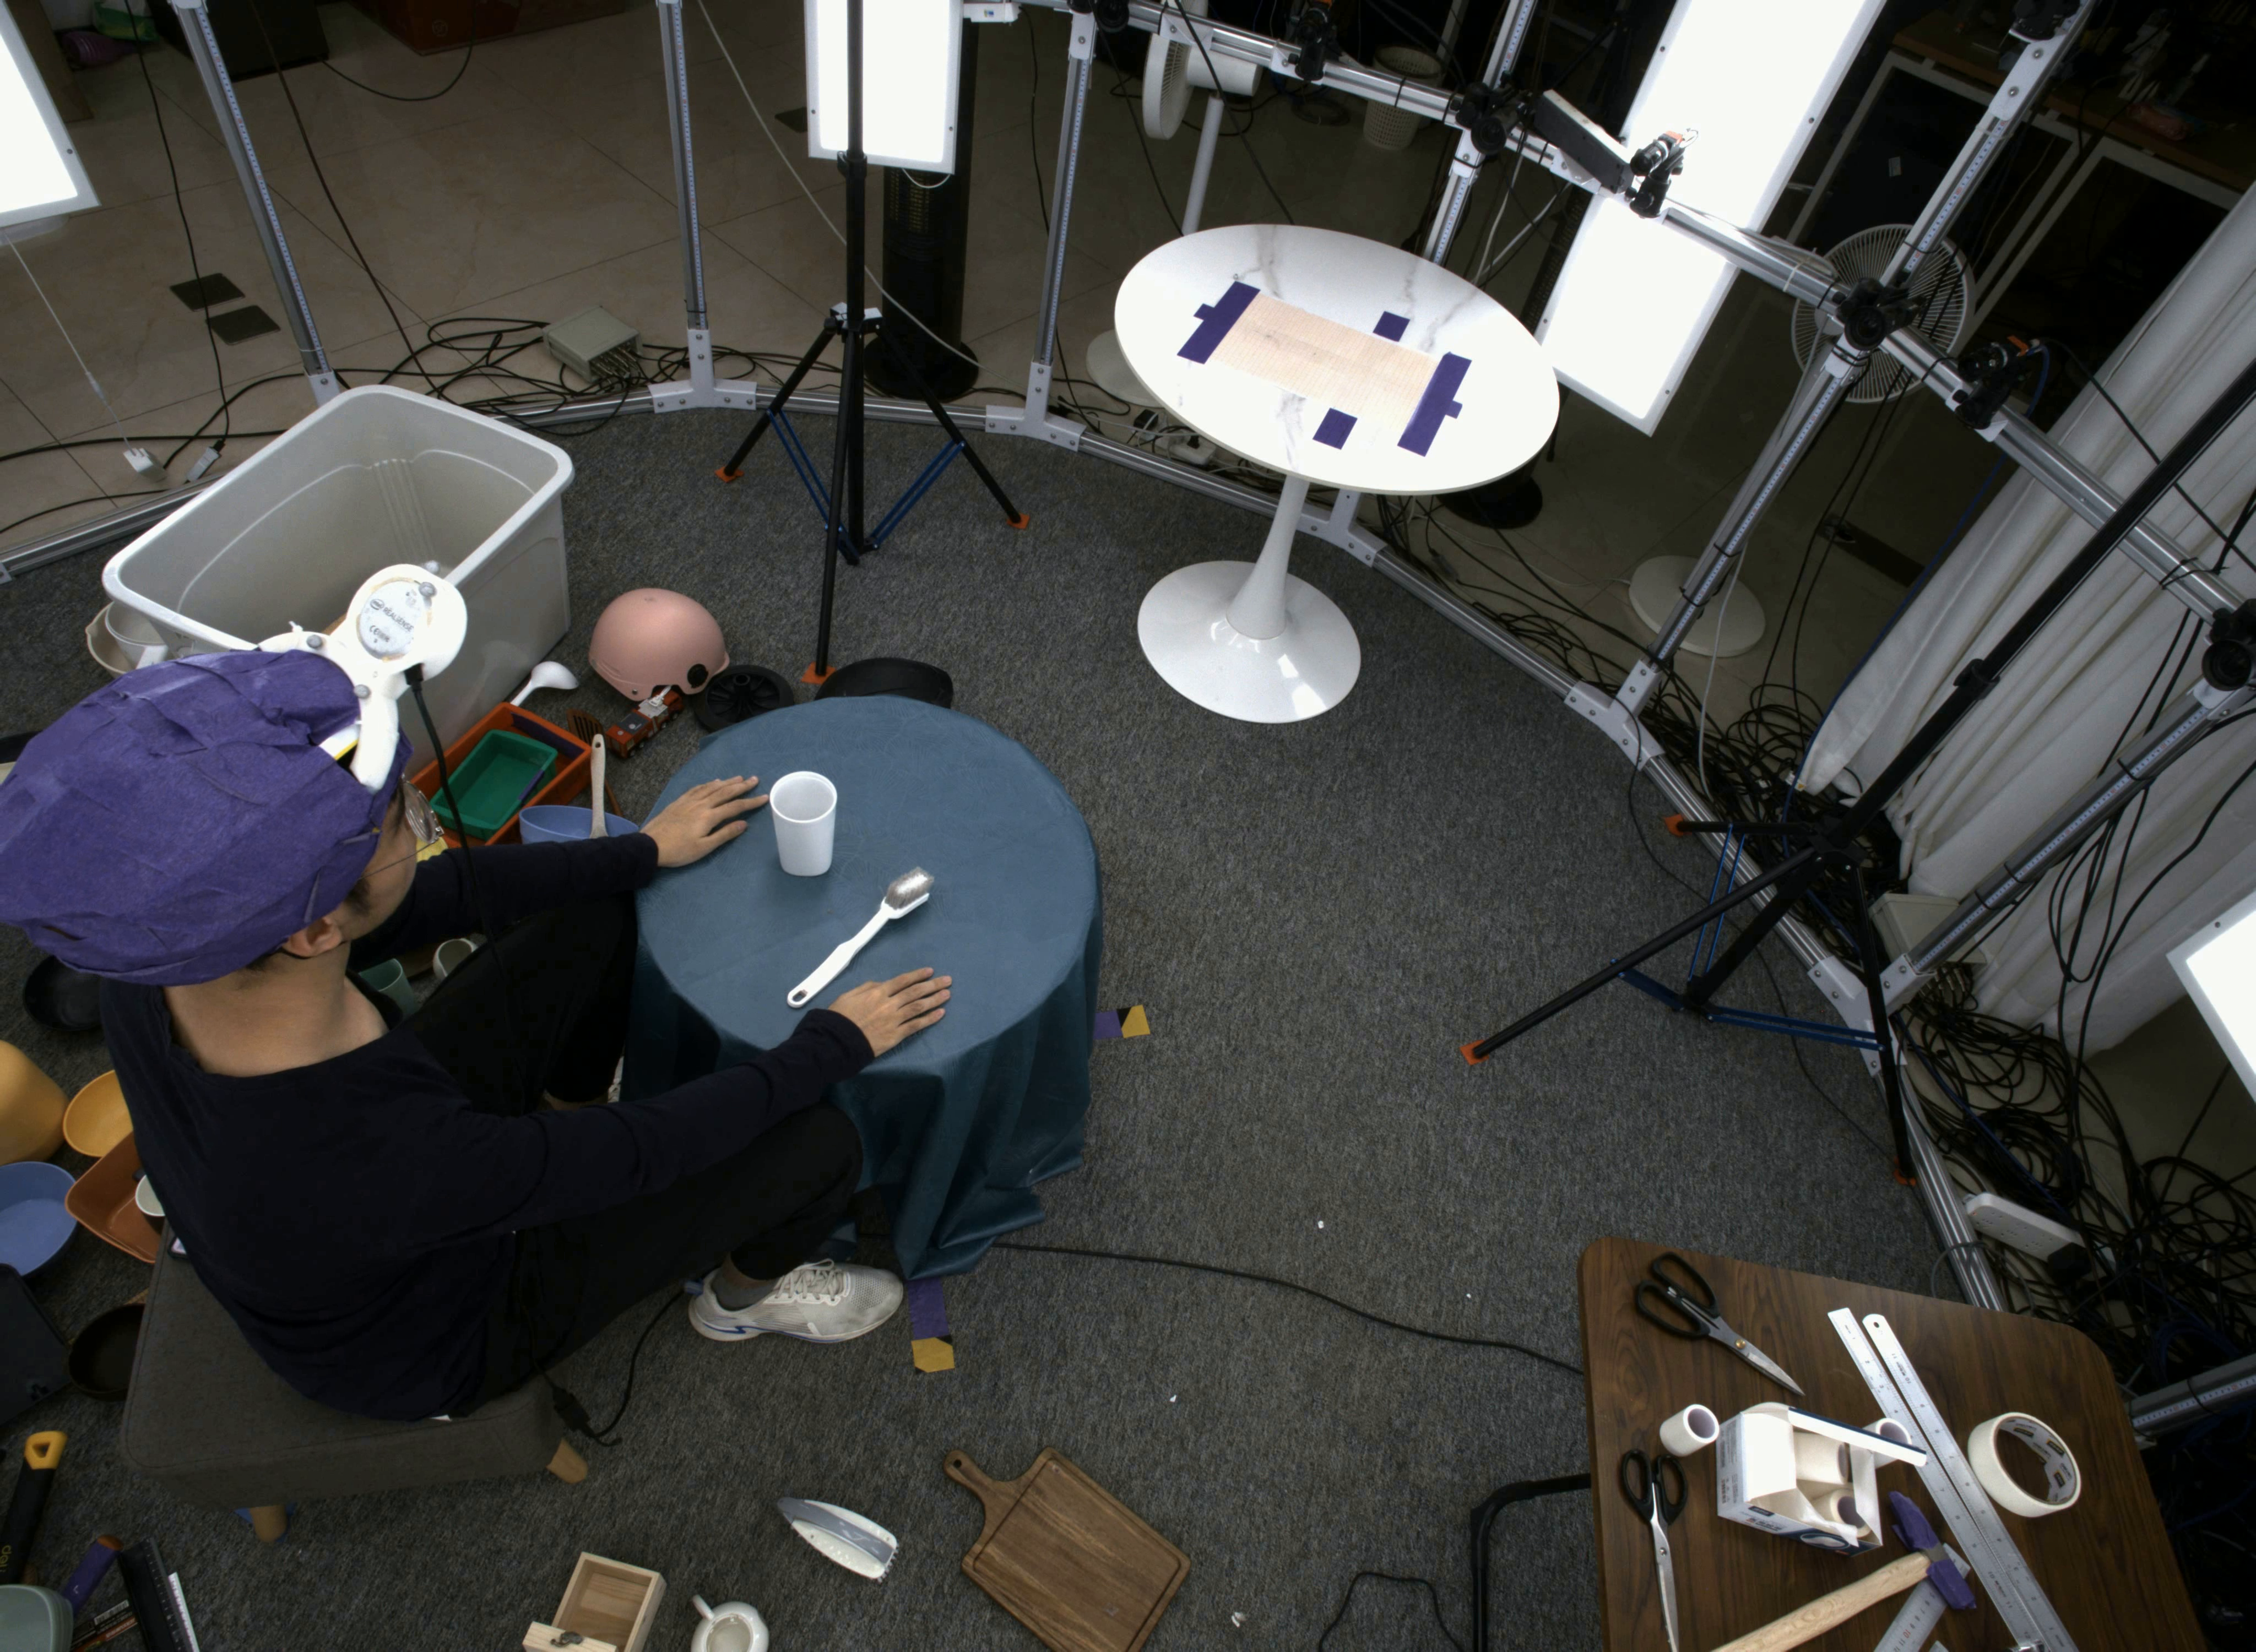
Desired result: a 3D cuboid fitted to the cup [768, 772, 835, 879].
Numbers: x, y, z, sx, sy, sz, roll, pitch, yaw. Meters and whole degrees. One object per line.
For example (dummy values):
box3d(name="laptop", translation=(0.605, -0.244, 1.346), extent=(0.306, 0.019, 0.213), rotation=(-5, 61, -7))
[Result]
box3d(name="cup", translation=(-0.411, 0.002, 1.648), extent=(0.081, 0.128, 0.080), rotation=(6, 52, -6))

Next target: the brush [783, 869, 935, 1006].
box3d(name="brush", translation=(-0.335, 0.133, 1.619), extent=(0.034, 0.051, 0.244), rotation=(39, 55, 14))
